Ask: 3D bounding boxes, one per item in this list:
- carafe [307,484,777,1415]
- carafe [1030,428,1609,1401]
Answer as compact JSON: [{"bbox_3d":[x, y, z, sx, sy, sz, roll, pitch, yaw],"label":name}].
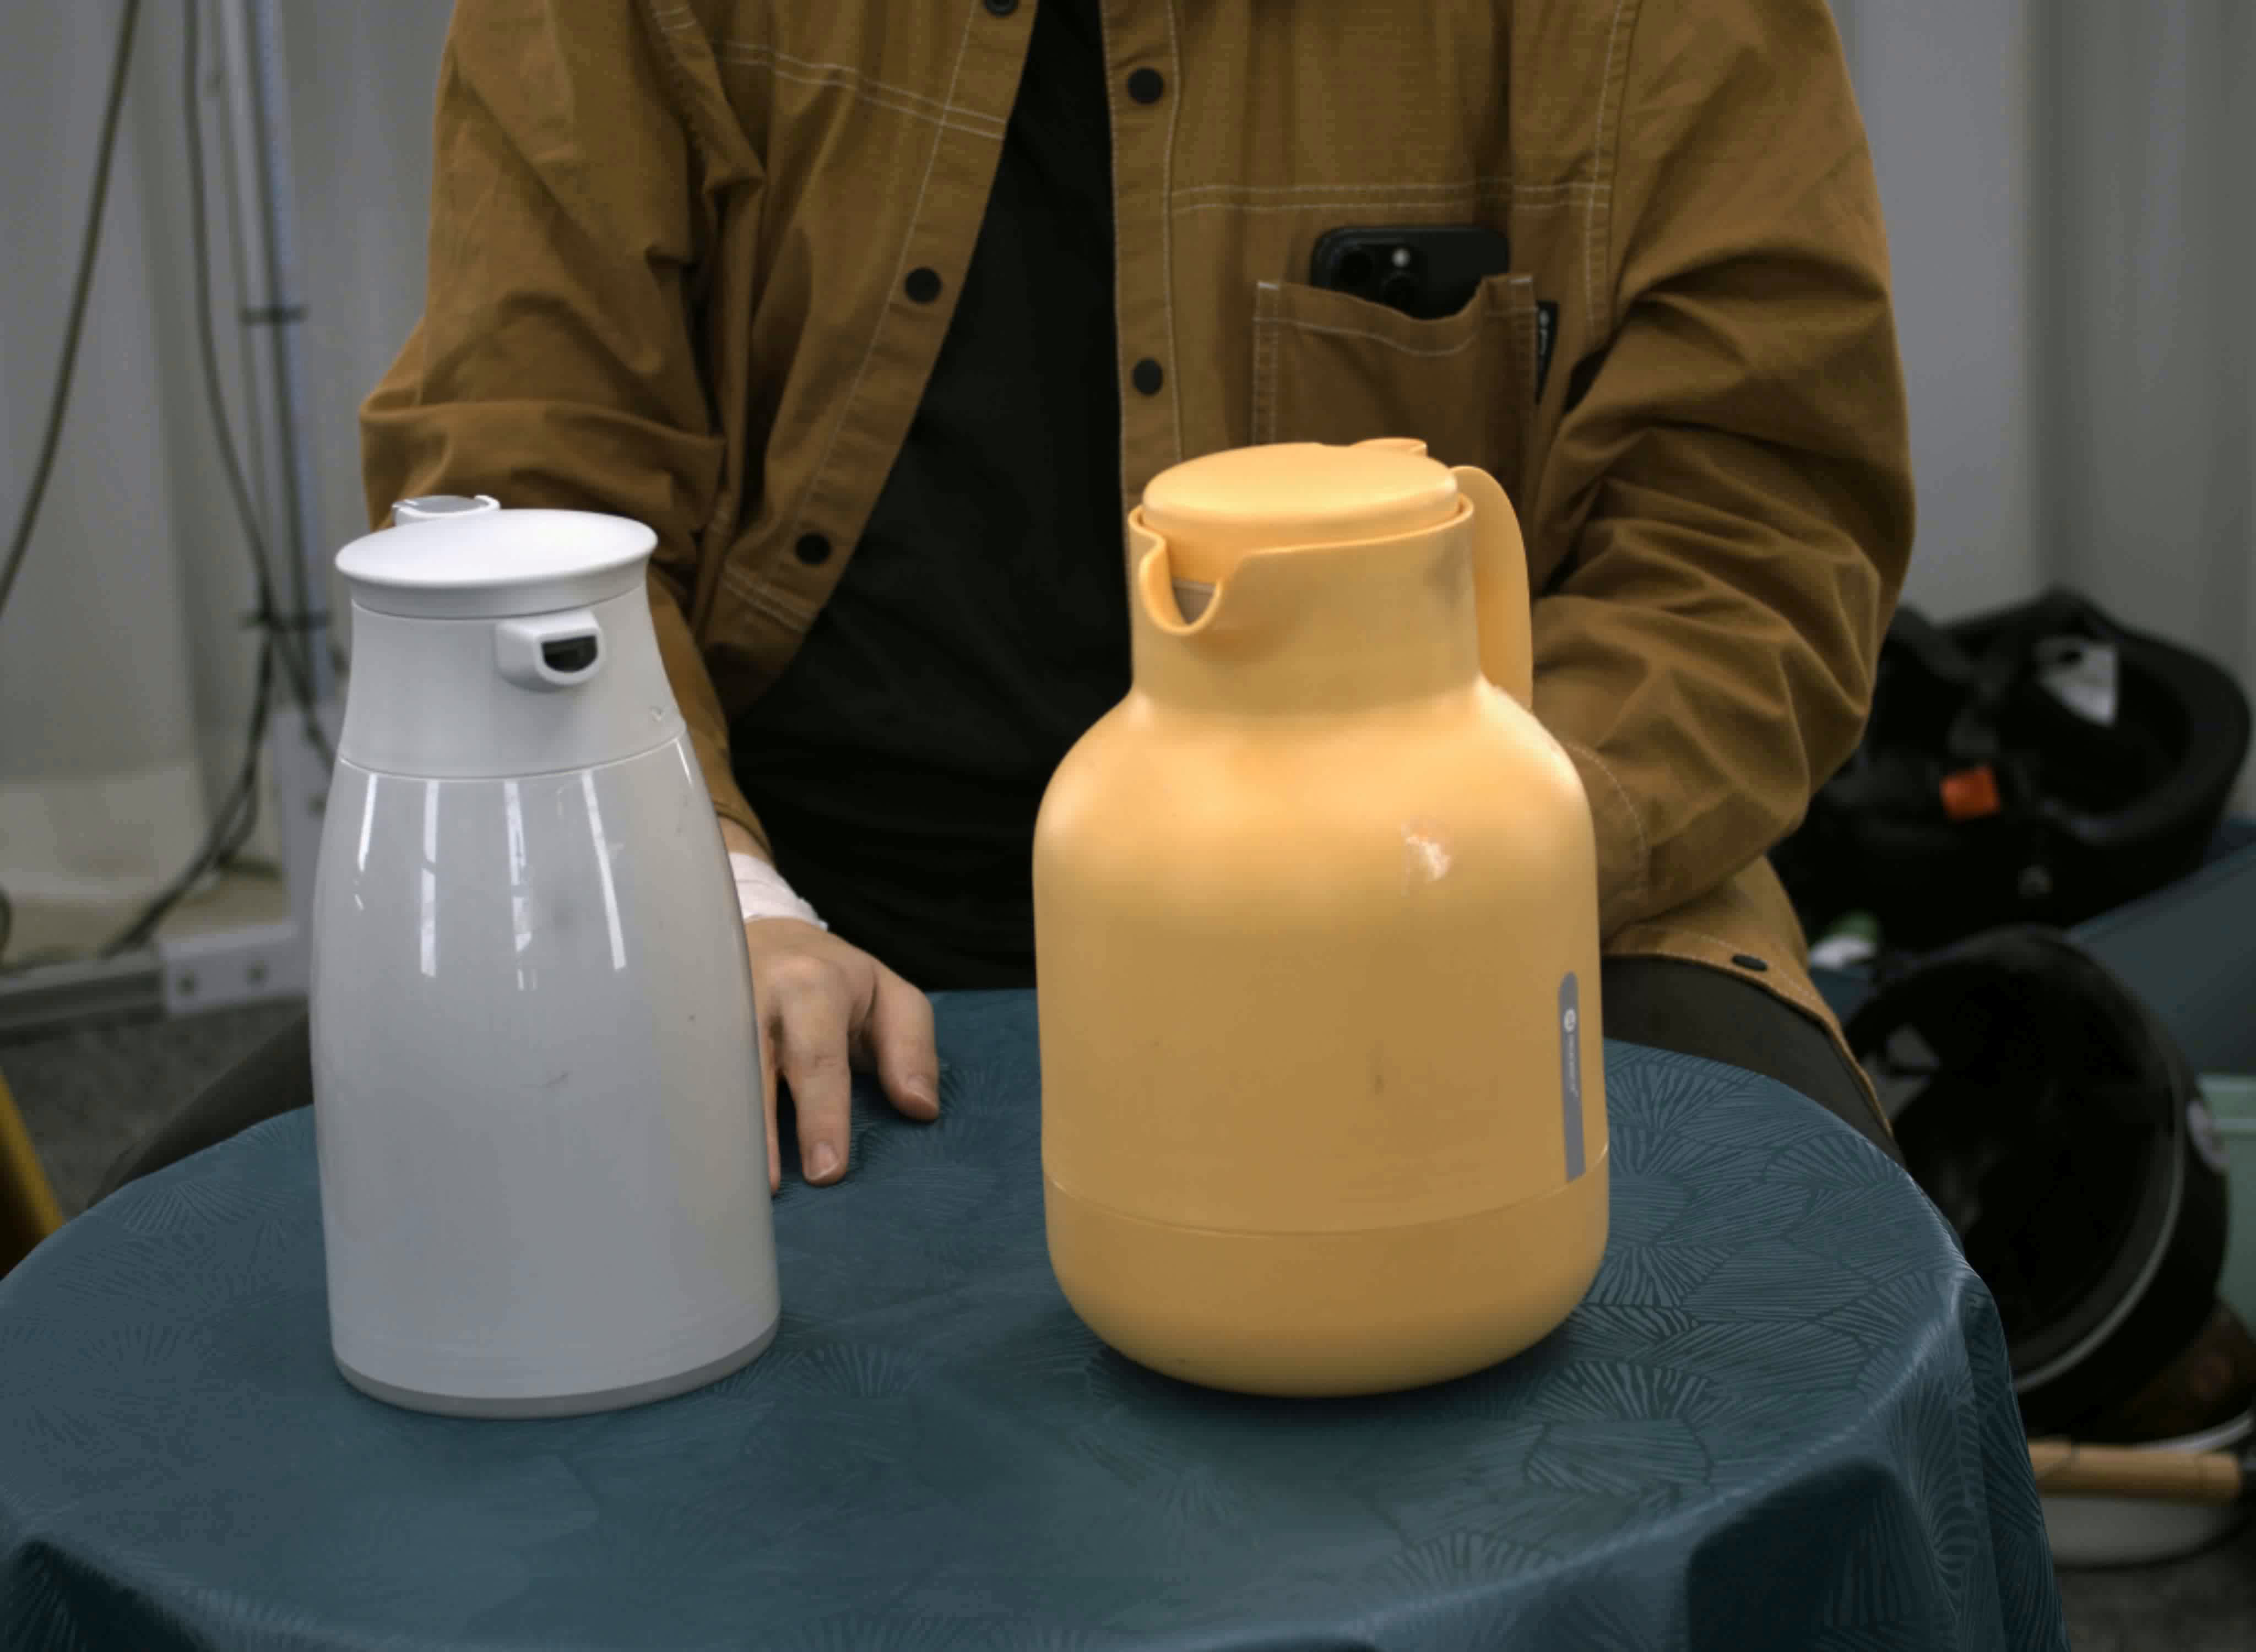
[{"bbox_3d":[-0.182,0.027,1.595,0.132,0.248,0.169,-9,14,-23],"label":"carafe"},{"bbox_3d":[0.064,0.017,1.566,0.164,0.259,0.202,8,19,30],"label":"carafe"}]
